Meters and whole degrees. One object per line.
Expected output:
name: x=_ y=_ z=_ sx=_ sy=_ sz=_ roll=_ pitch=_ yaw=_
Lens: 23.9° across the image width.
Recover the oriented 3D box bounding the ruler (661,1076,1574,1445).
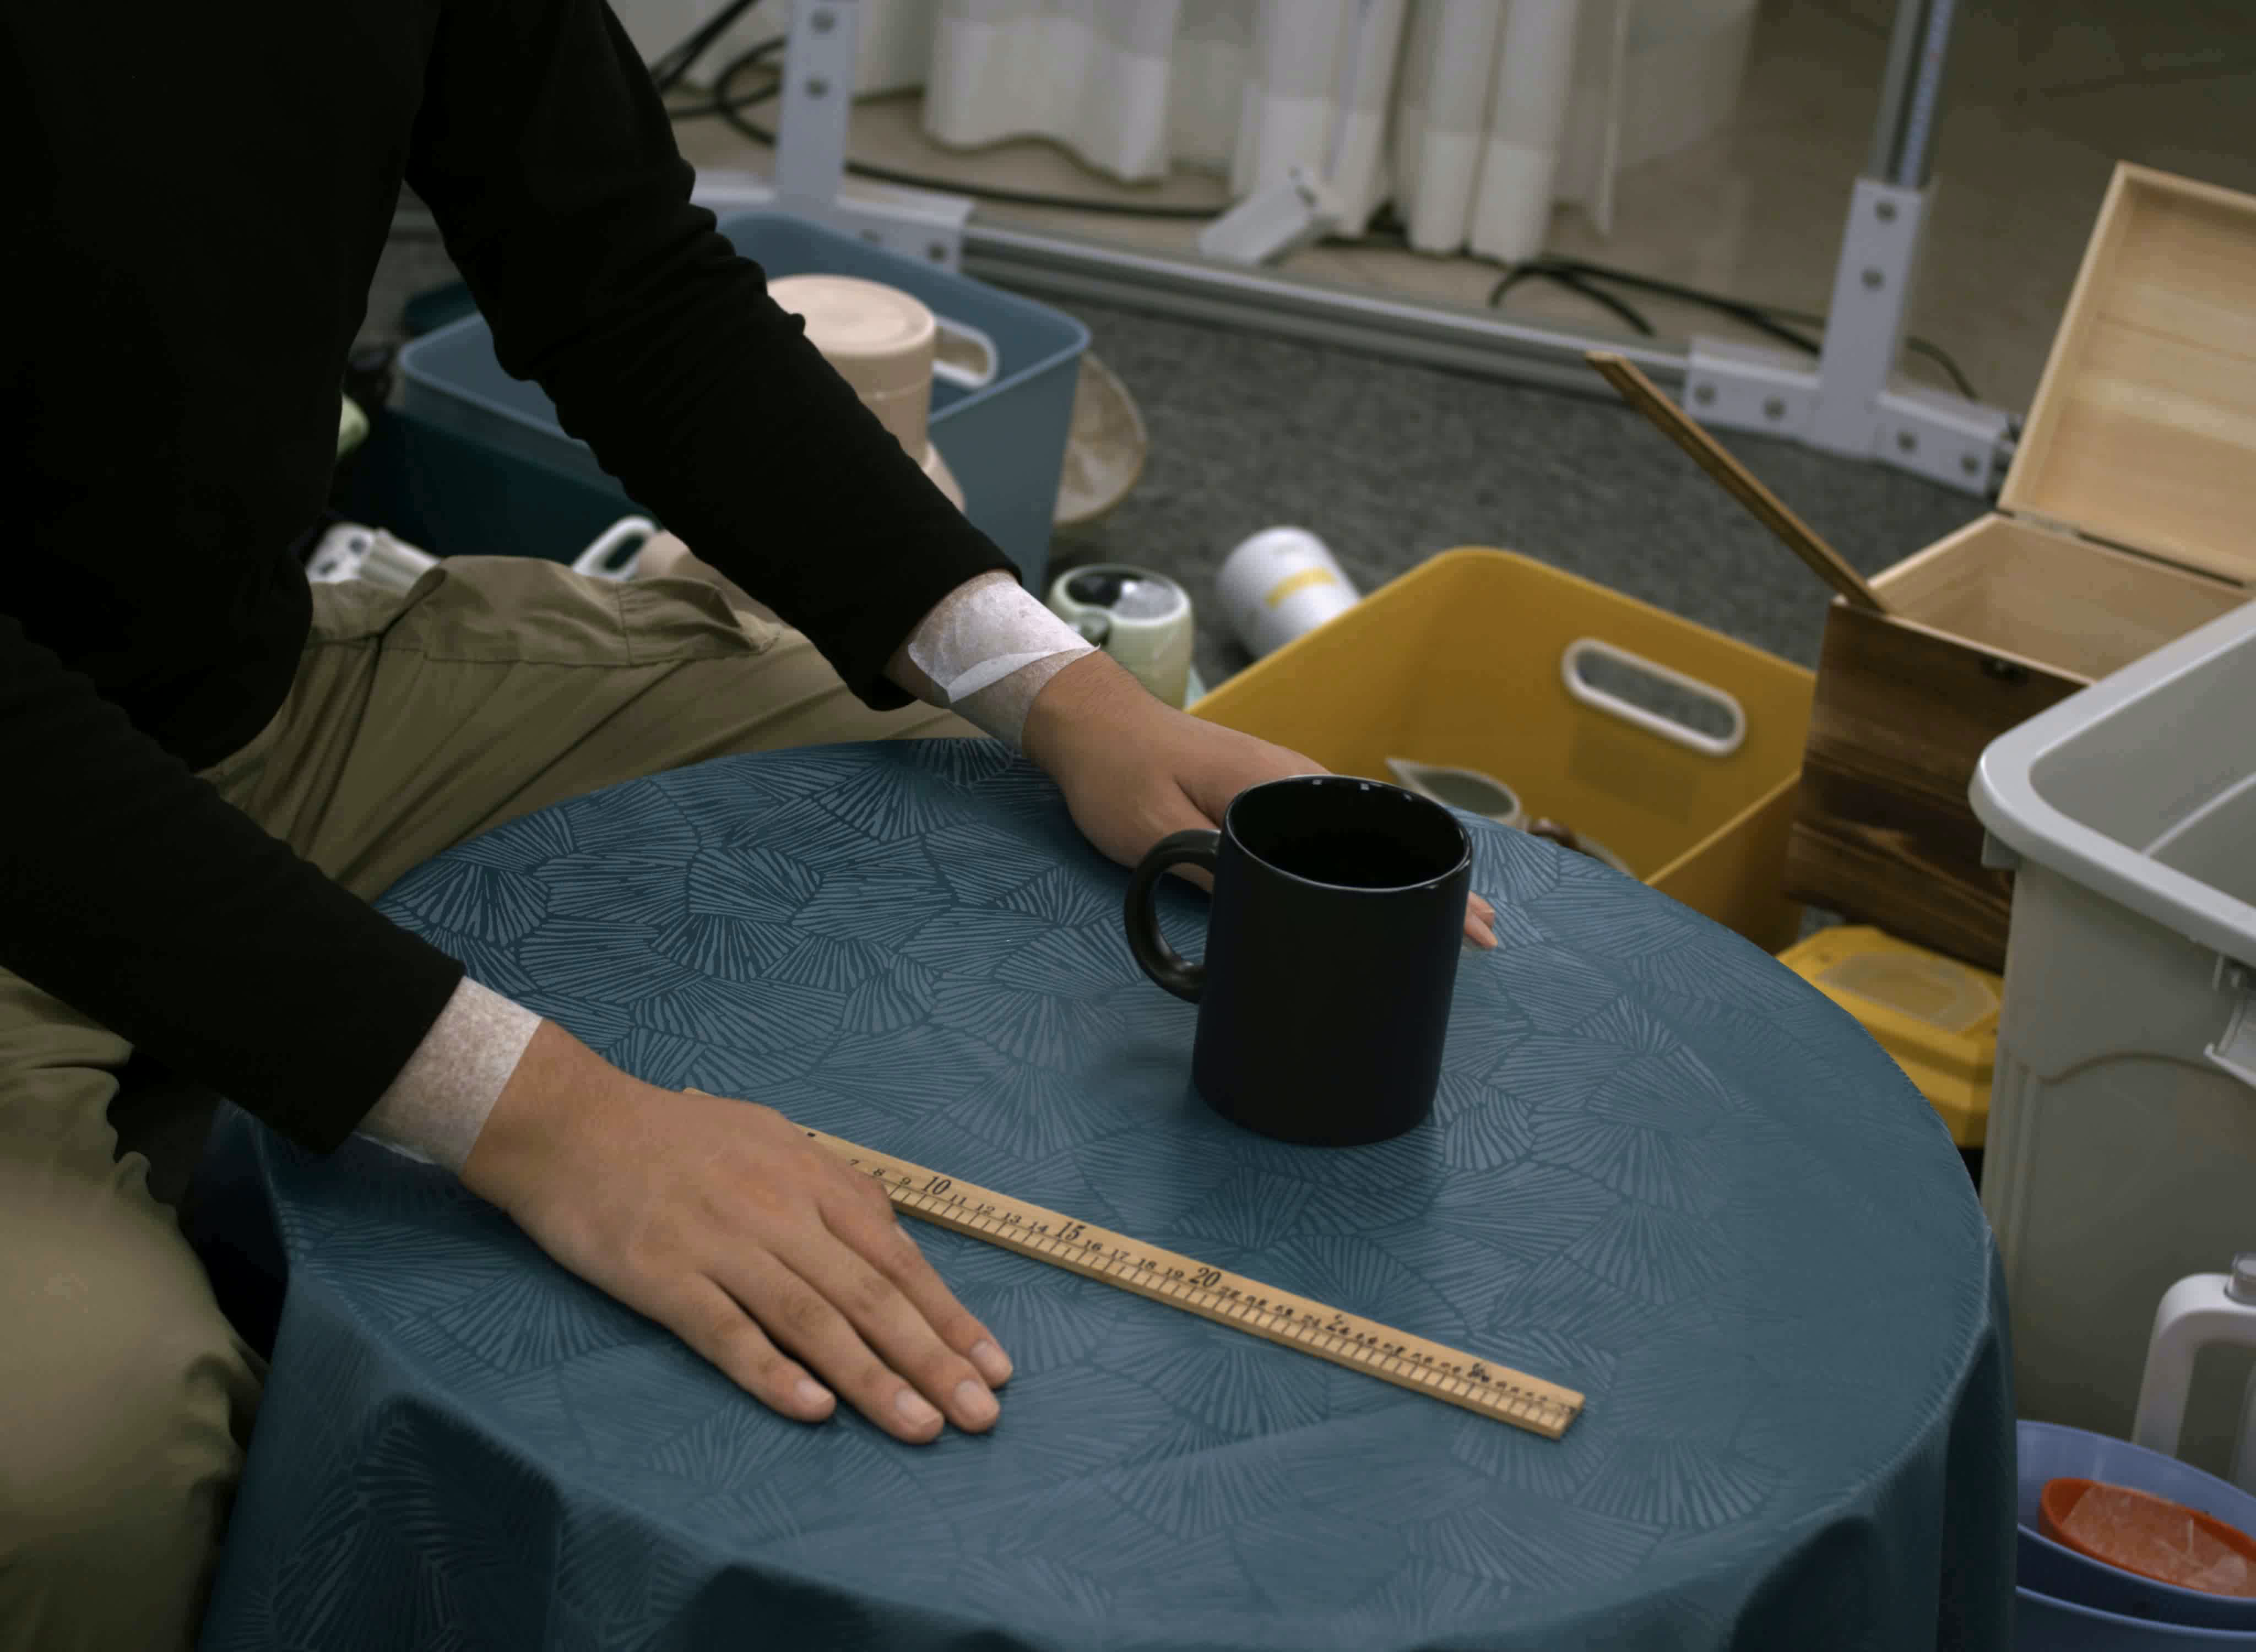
ruler: x=-0.008 y=0.139 z=1.758 sx=0.333 sy=0.022 sz=0.027 roll=19 pitch=24 yaw=22

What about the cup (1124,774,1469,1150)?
cup: x=0.055 y=0.042 z=1.862 sx=0.124 sy=0.105 sz=0.088 roll=18 pitch=30 yaw=23
